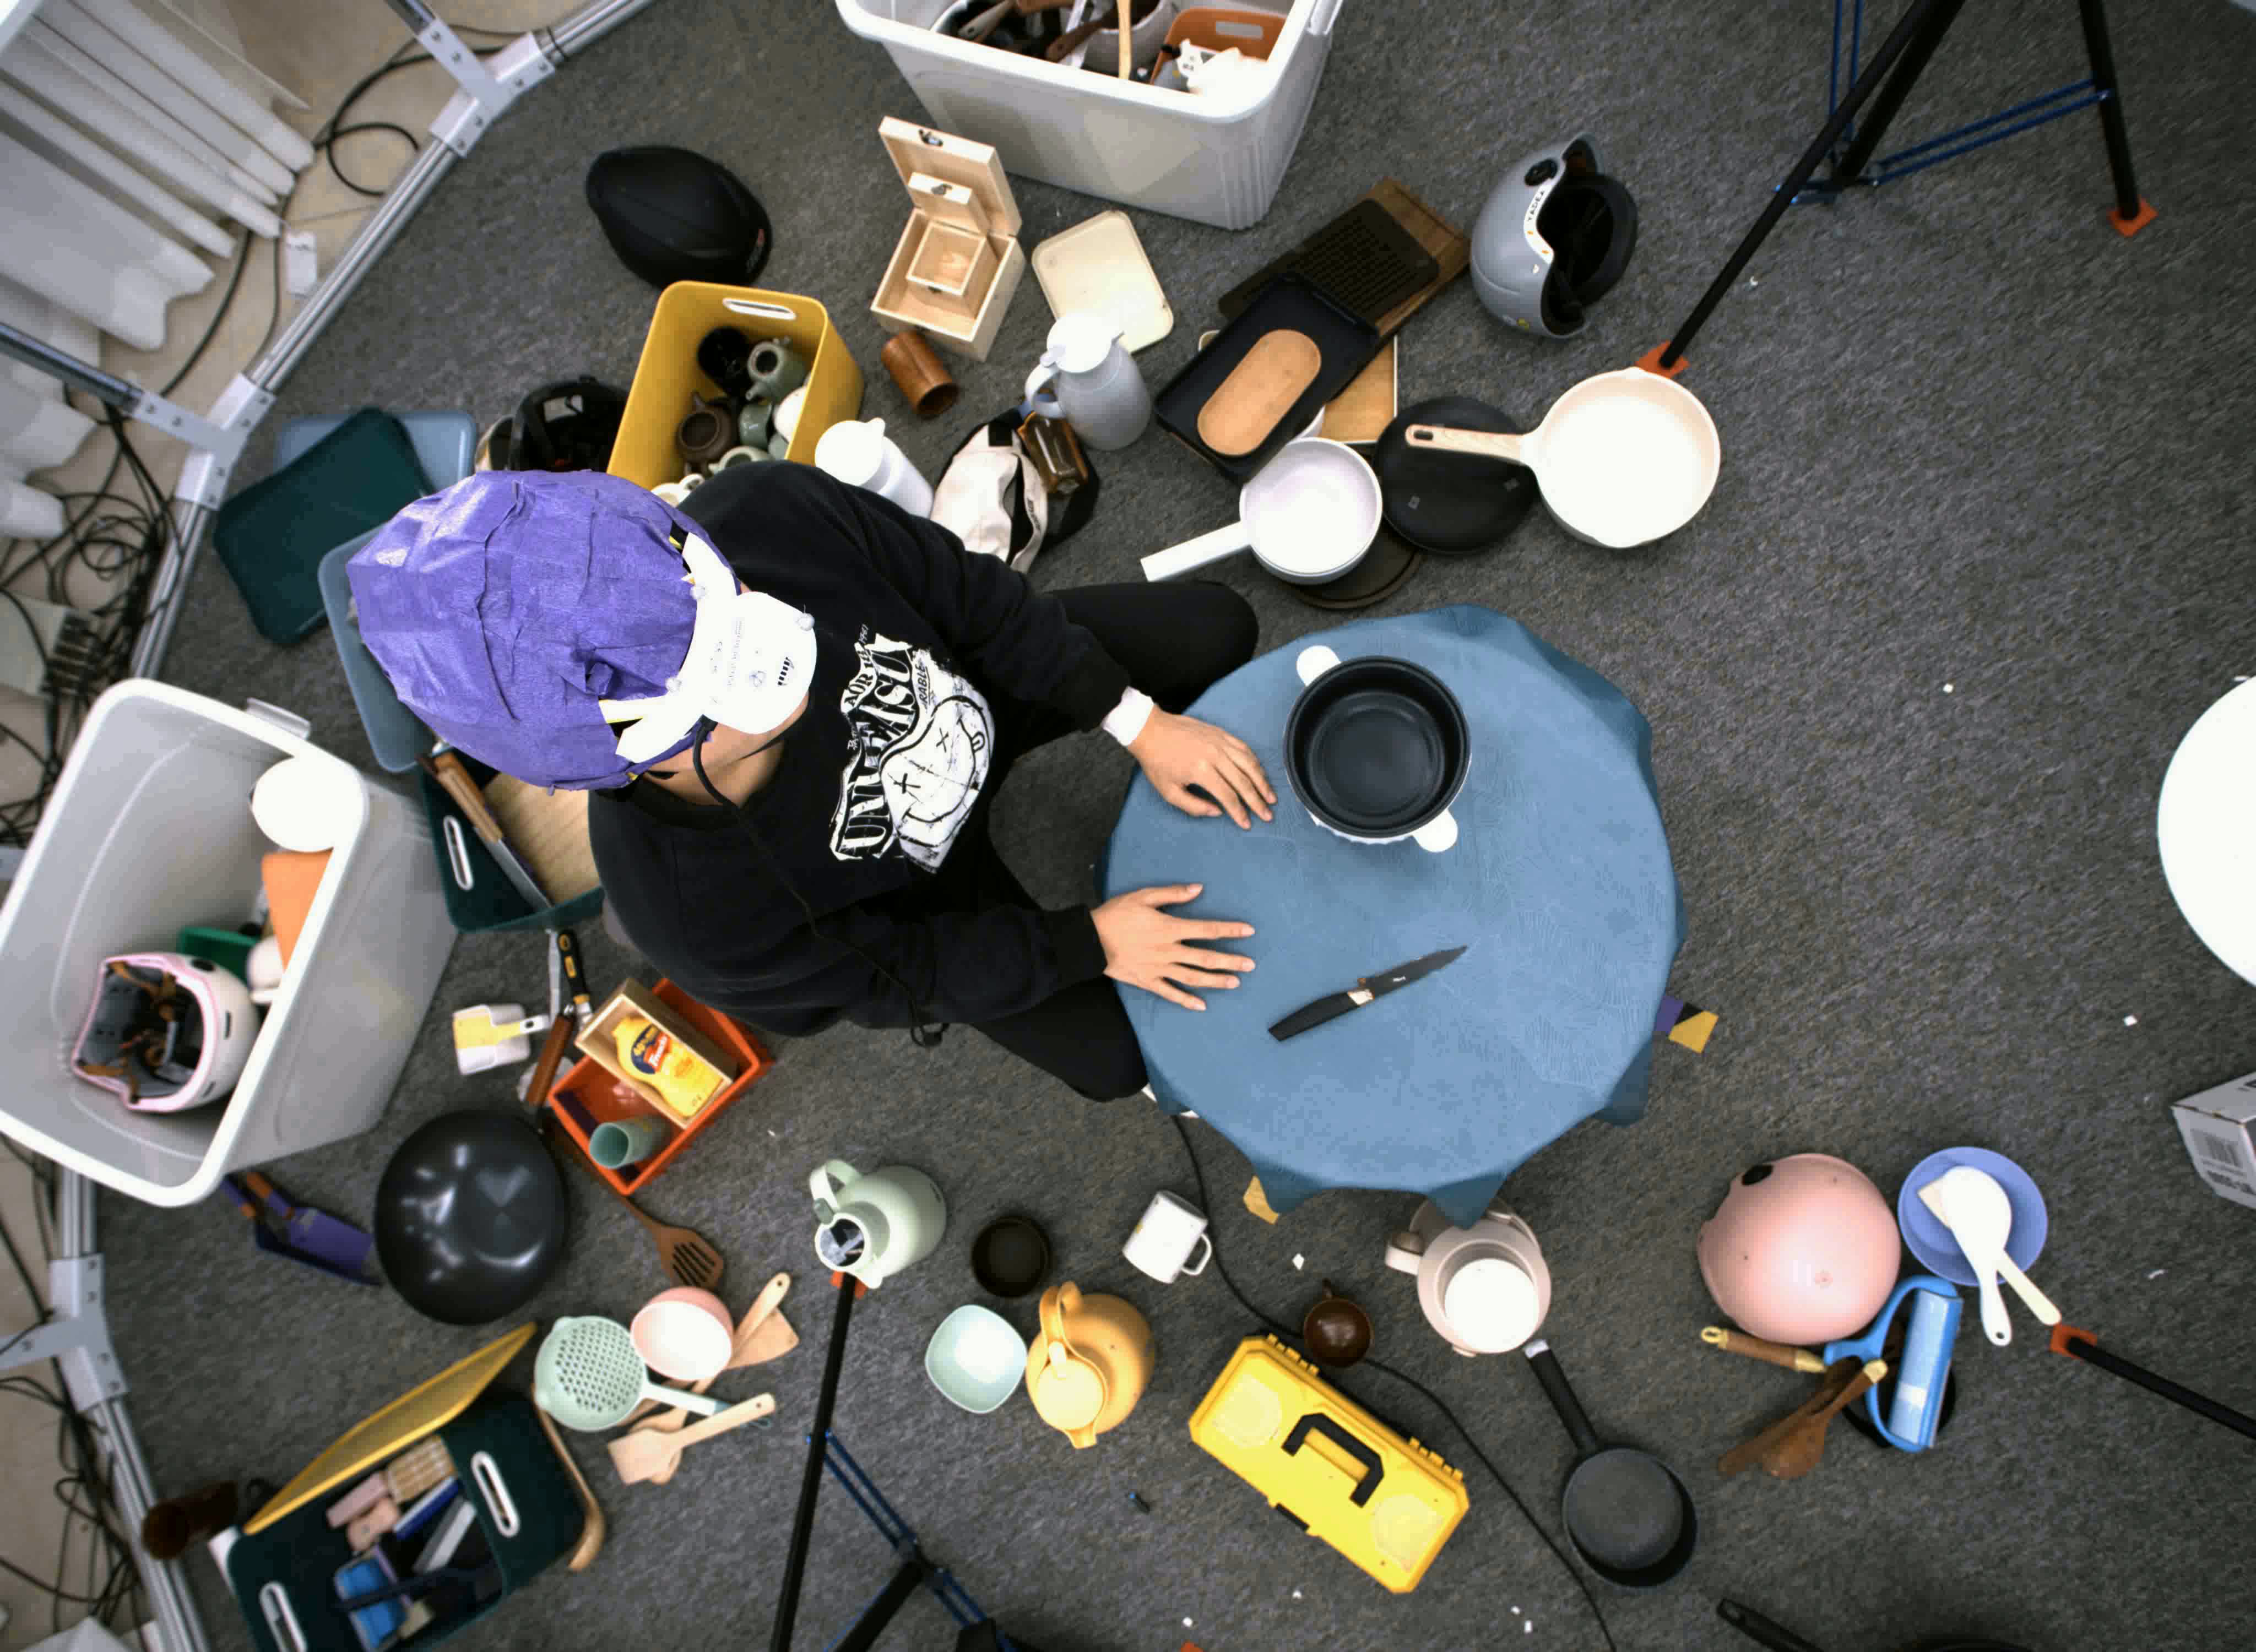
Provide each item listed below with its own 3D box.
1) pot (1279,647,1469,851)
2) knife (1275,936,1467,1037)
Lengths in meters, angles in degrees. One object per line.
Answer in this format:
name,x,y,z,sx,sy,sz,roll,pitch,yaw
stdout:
pot,0.255,-0.076,1.401,0.192,0.142,0.239,-36,82,10
knife,0.255,0.168,1.455,0.227,0.017,0.026,-26,67,8
